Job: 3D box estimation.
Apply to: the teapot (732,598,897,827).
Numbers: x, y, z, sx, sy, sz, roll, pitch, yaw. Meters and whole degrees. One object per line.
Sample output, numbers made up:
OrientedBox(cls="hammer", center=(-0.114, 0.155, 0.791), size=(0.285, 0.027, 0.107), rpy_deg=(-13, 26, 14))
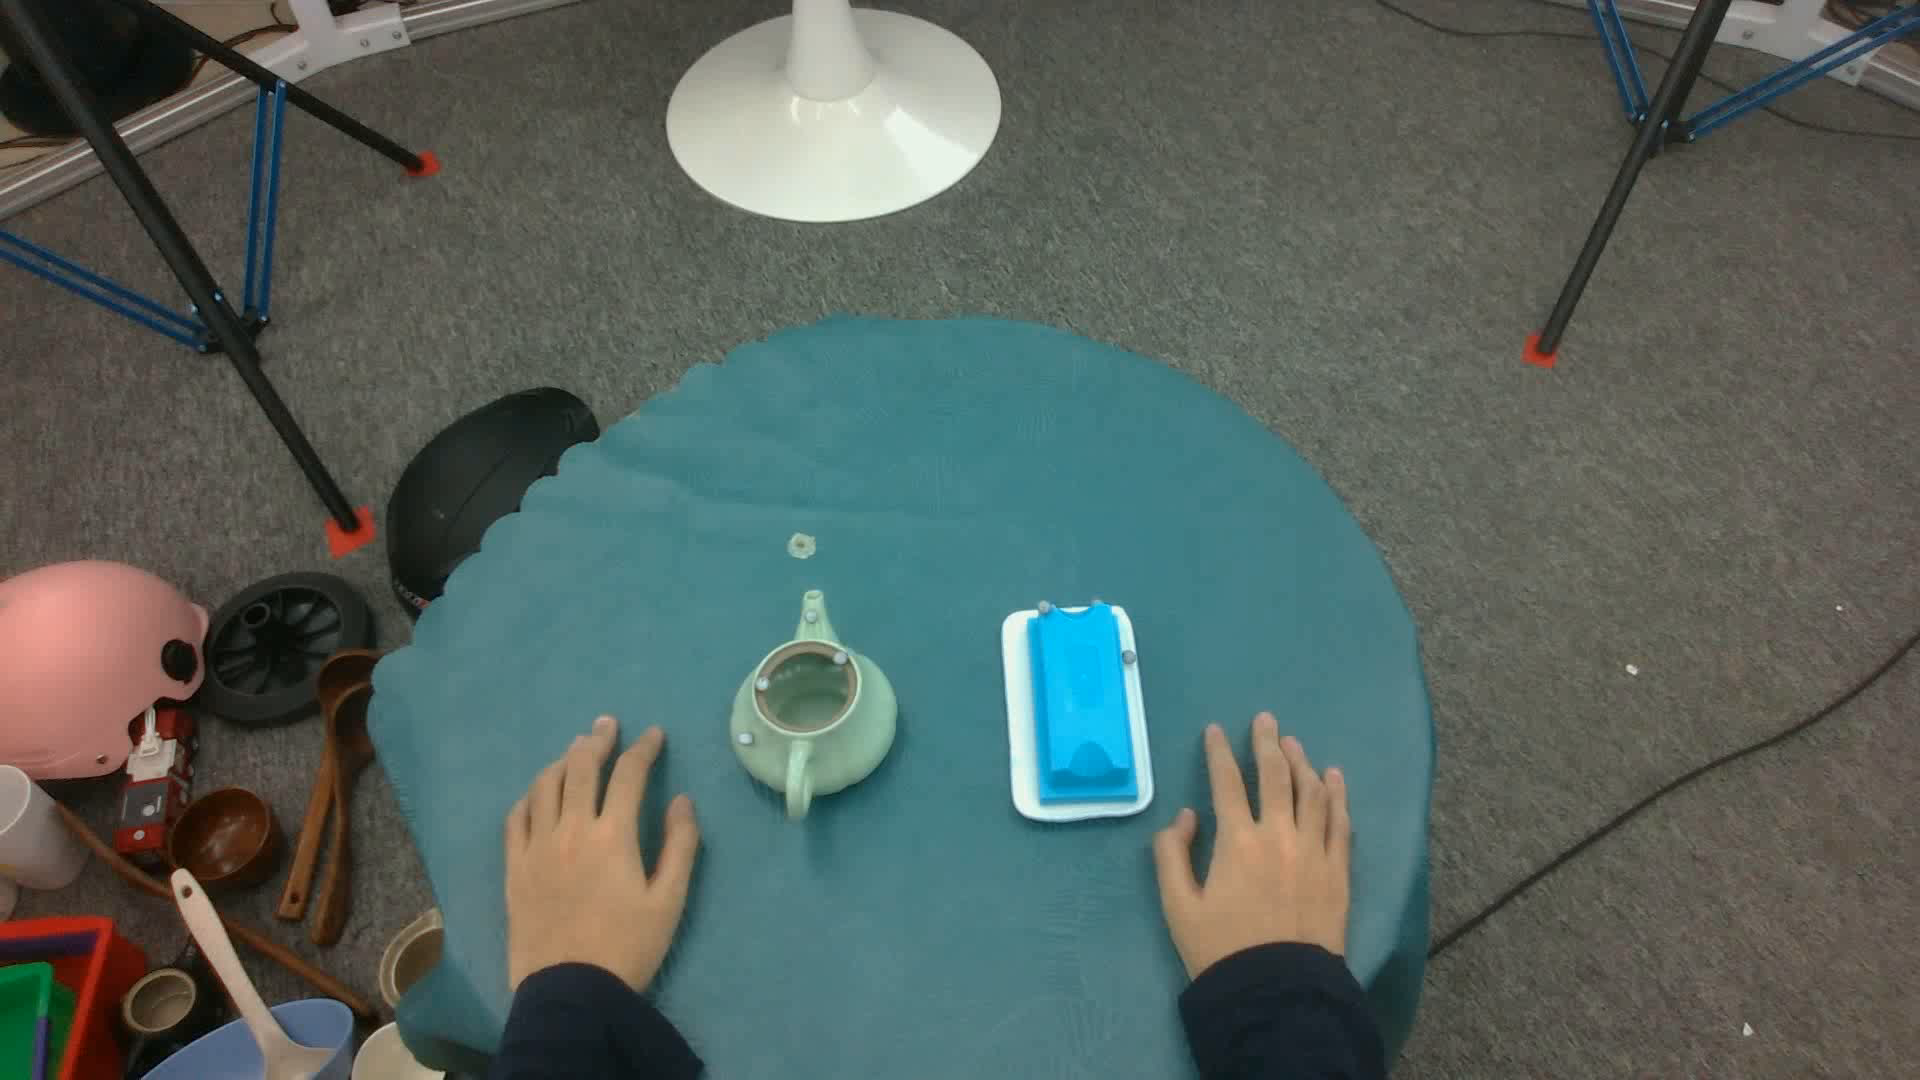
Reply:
OrientedBox(cls="teapot", center=(-0.085, 0.105, 0.796), size=(0.096, 0.061, 0.137), rpy_deg=(0, 53, -1))

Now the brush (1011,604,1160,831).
OrientedBox(cls="brush", center=(0.070, 0.095, 0.796), size=(0.084, 0.055, 0.144), rpy_deg=(-3, 51, 4))
